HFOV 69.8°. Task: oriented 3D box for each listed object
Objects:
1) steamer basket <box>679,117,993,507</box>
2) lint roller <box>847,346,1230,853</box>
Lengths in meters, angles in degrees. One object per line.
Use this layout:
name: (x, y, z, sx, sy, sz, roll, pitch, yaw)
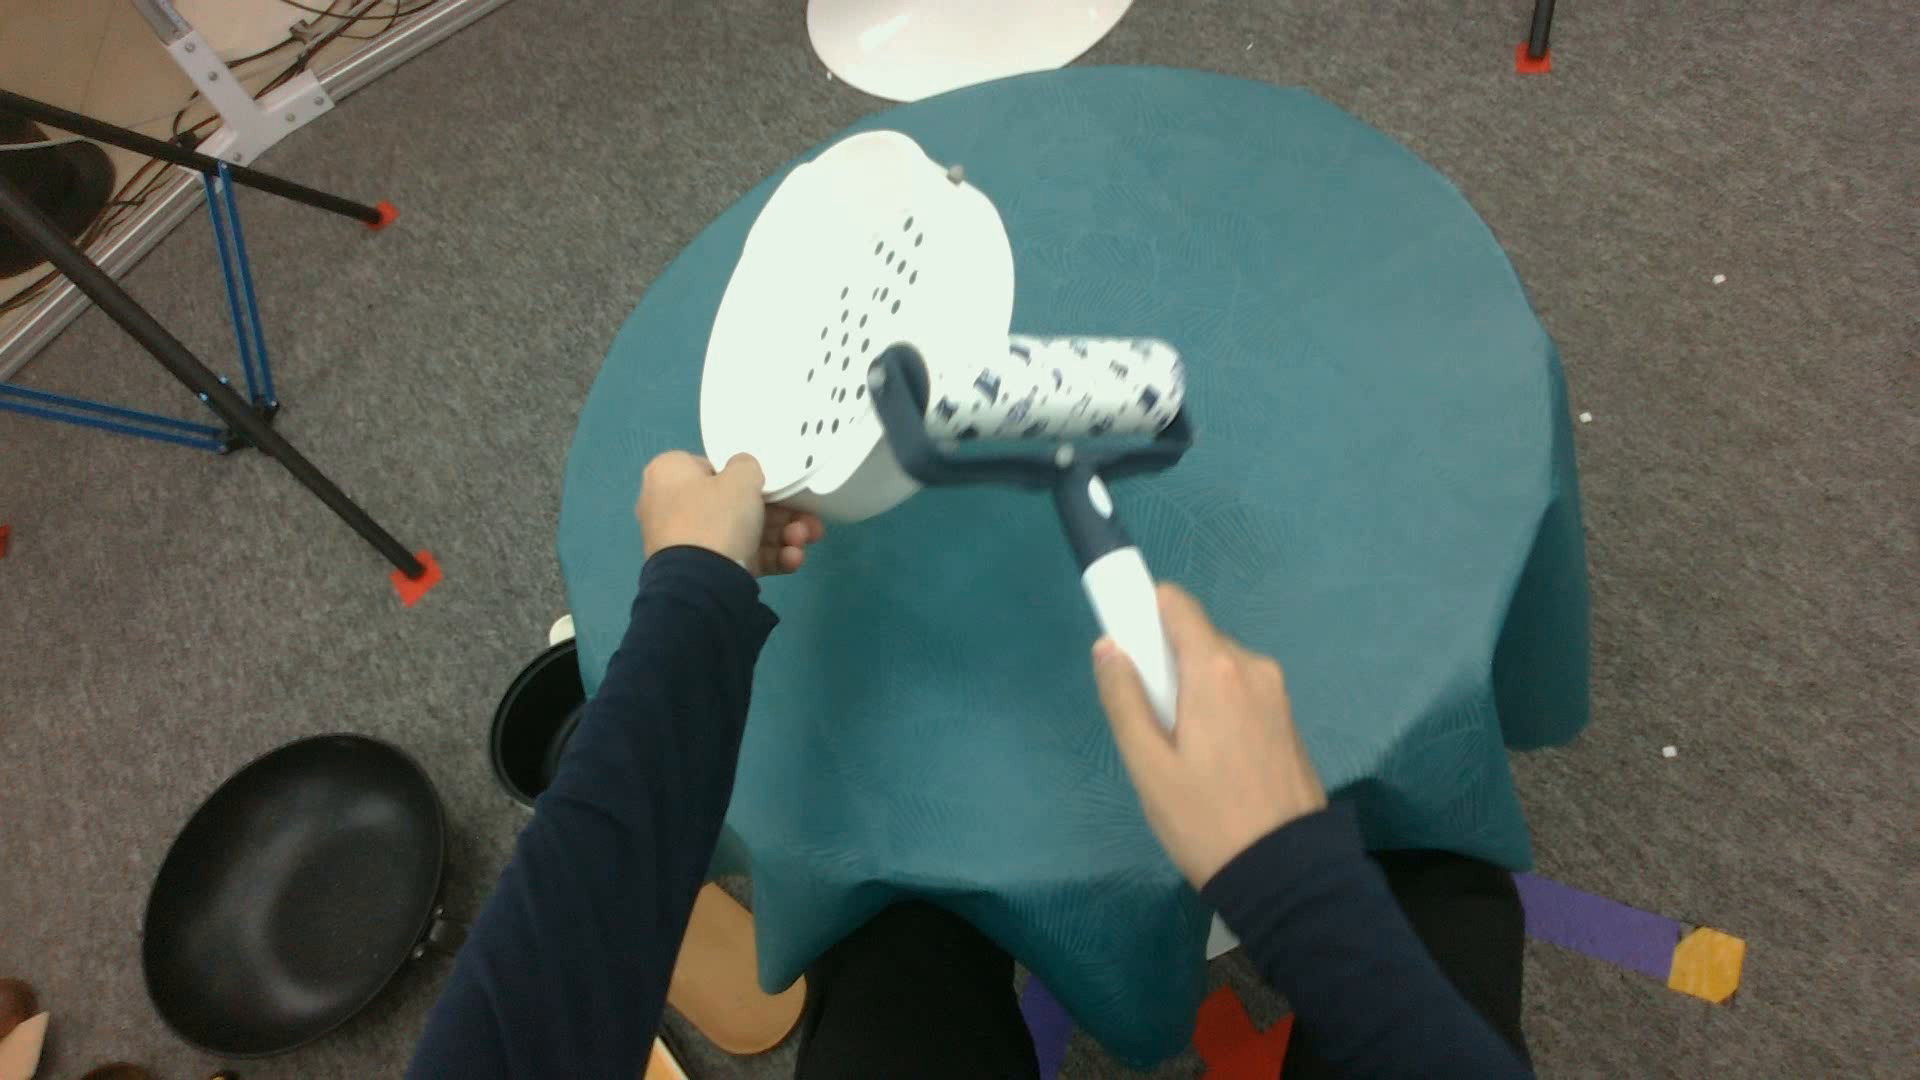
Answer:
steamer basket: (-0.068, -0.117, 0.729, 0.201, 0.069, 0.231, -47, 45, 27)
lint roller: (0.063, 0.019, 0.617, 0.050, 0.177, 0.247, -43, 64, 38)
